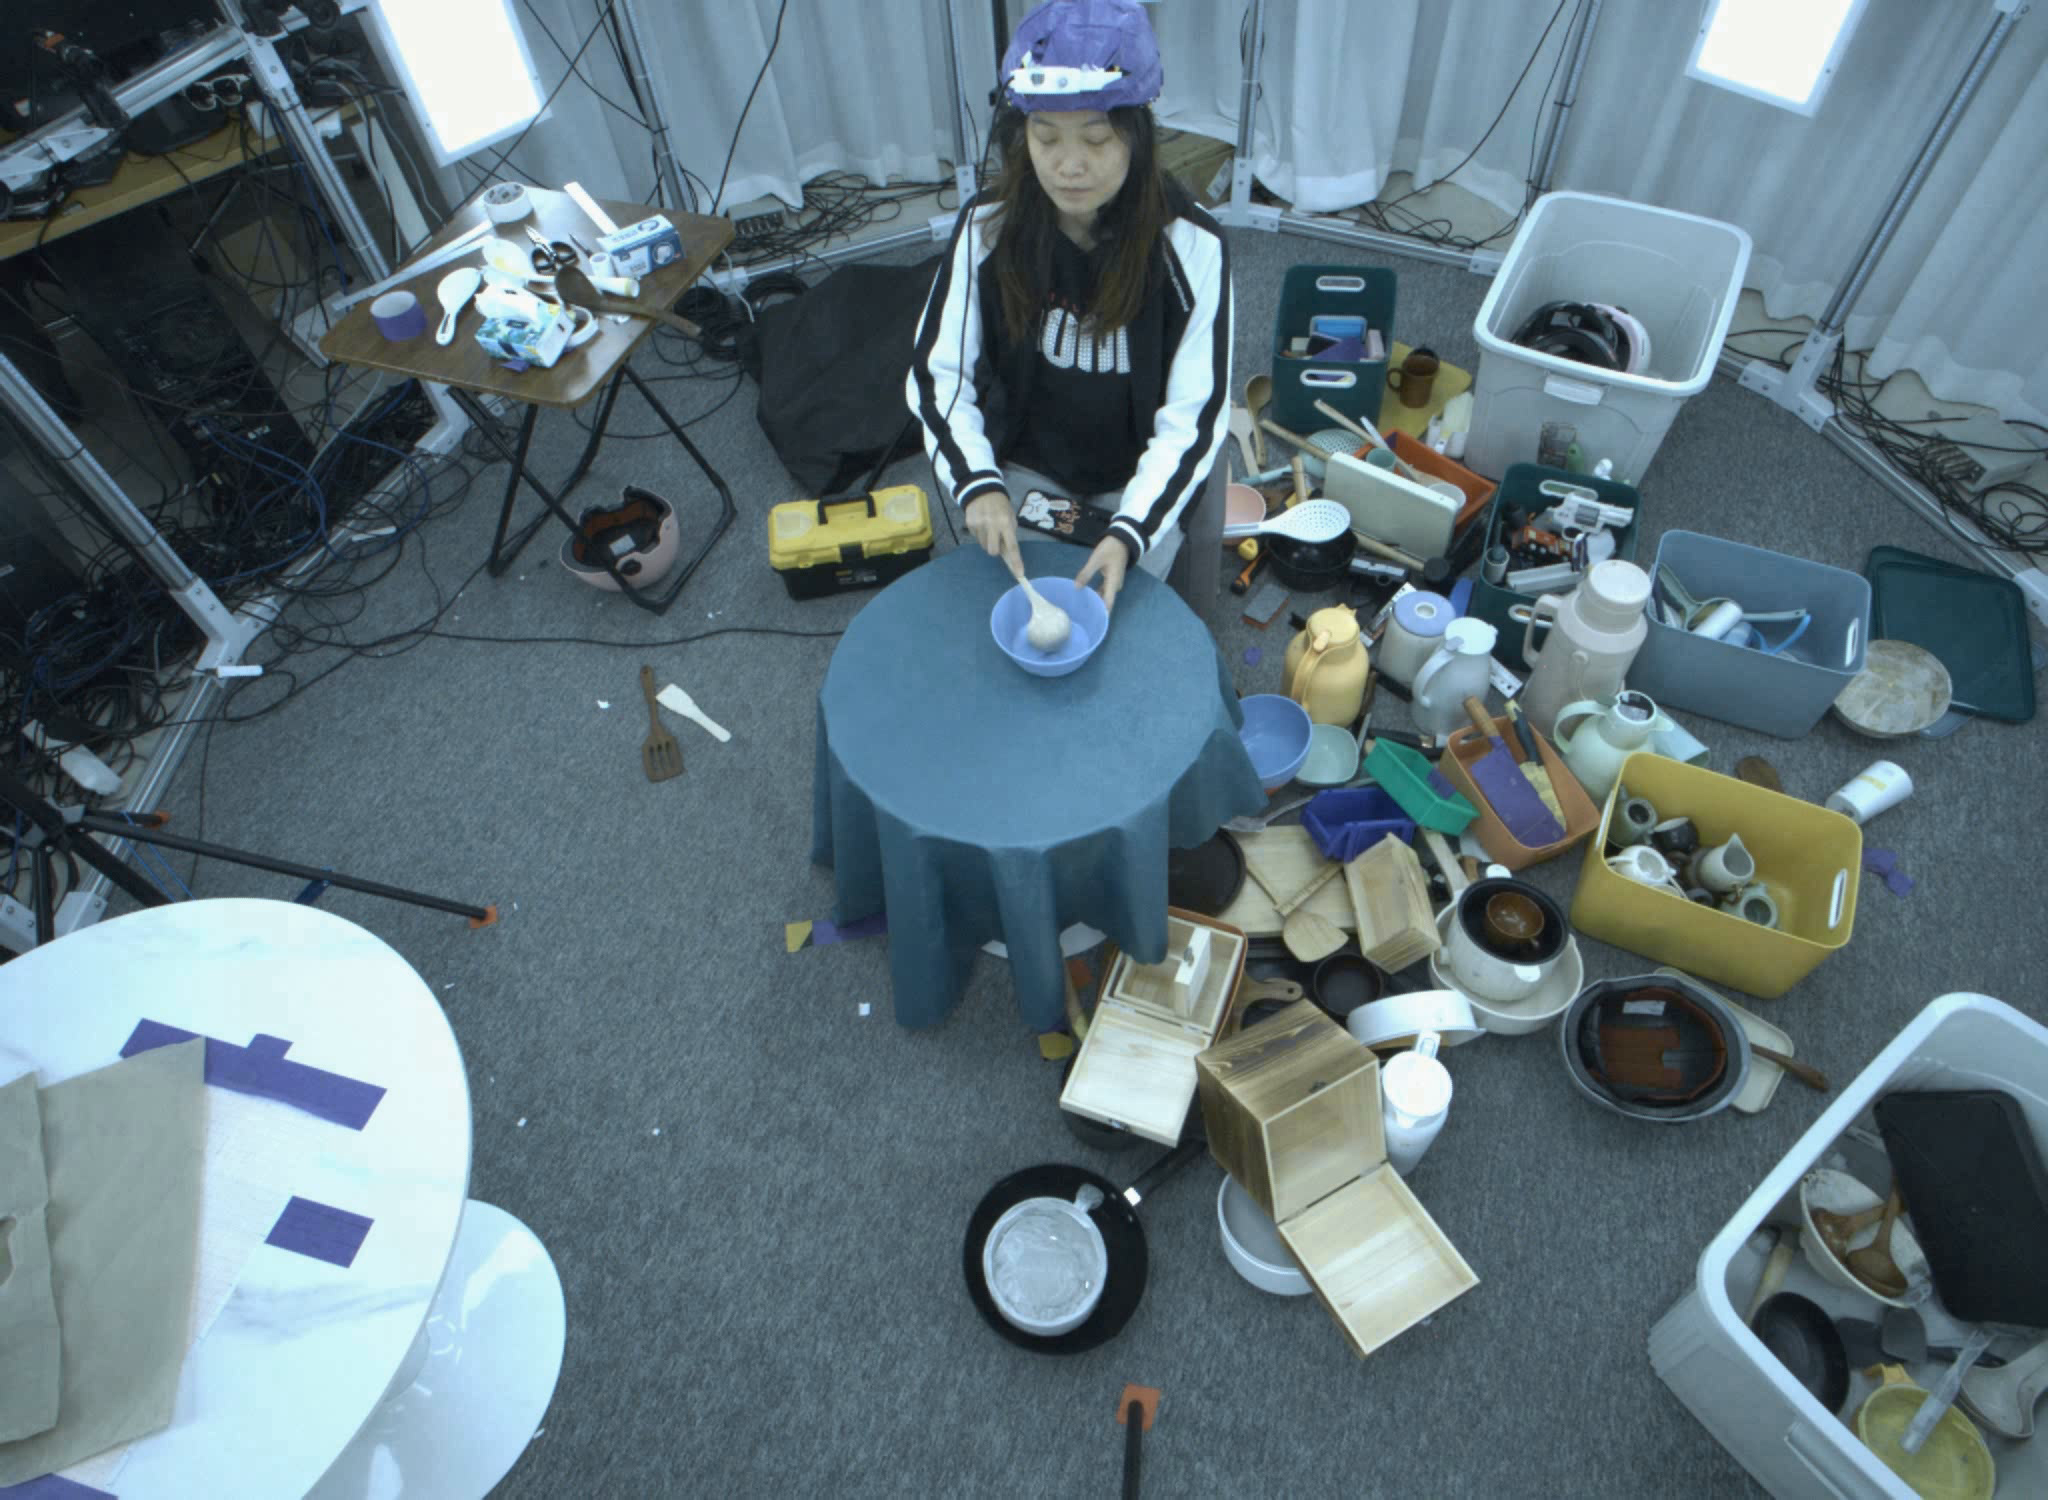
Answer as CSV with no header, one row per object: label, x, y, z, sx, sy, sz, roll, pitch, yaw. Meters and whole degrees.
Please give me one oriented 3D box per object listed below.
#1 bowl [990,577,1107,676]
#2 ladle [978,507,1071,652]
bowl,0.037,-0.178,1.870,0.176,0.071,0.174,0,55,1
ladle,-0.010,-0.261,1.894,0.072,0.073,0.251,-25,69,-12
